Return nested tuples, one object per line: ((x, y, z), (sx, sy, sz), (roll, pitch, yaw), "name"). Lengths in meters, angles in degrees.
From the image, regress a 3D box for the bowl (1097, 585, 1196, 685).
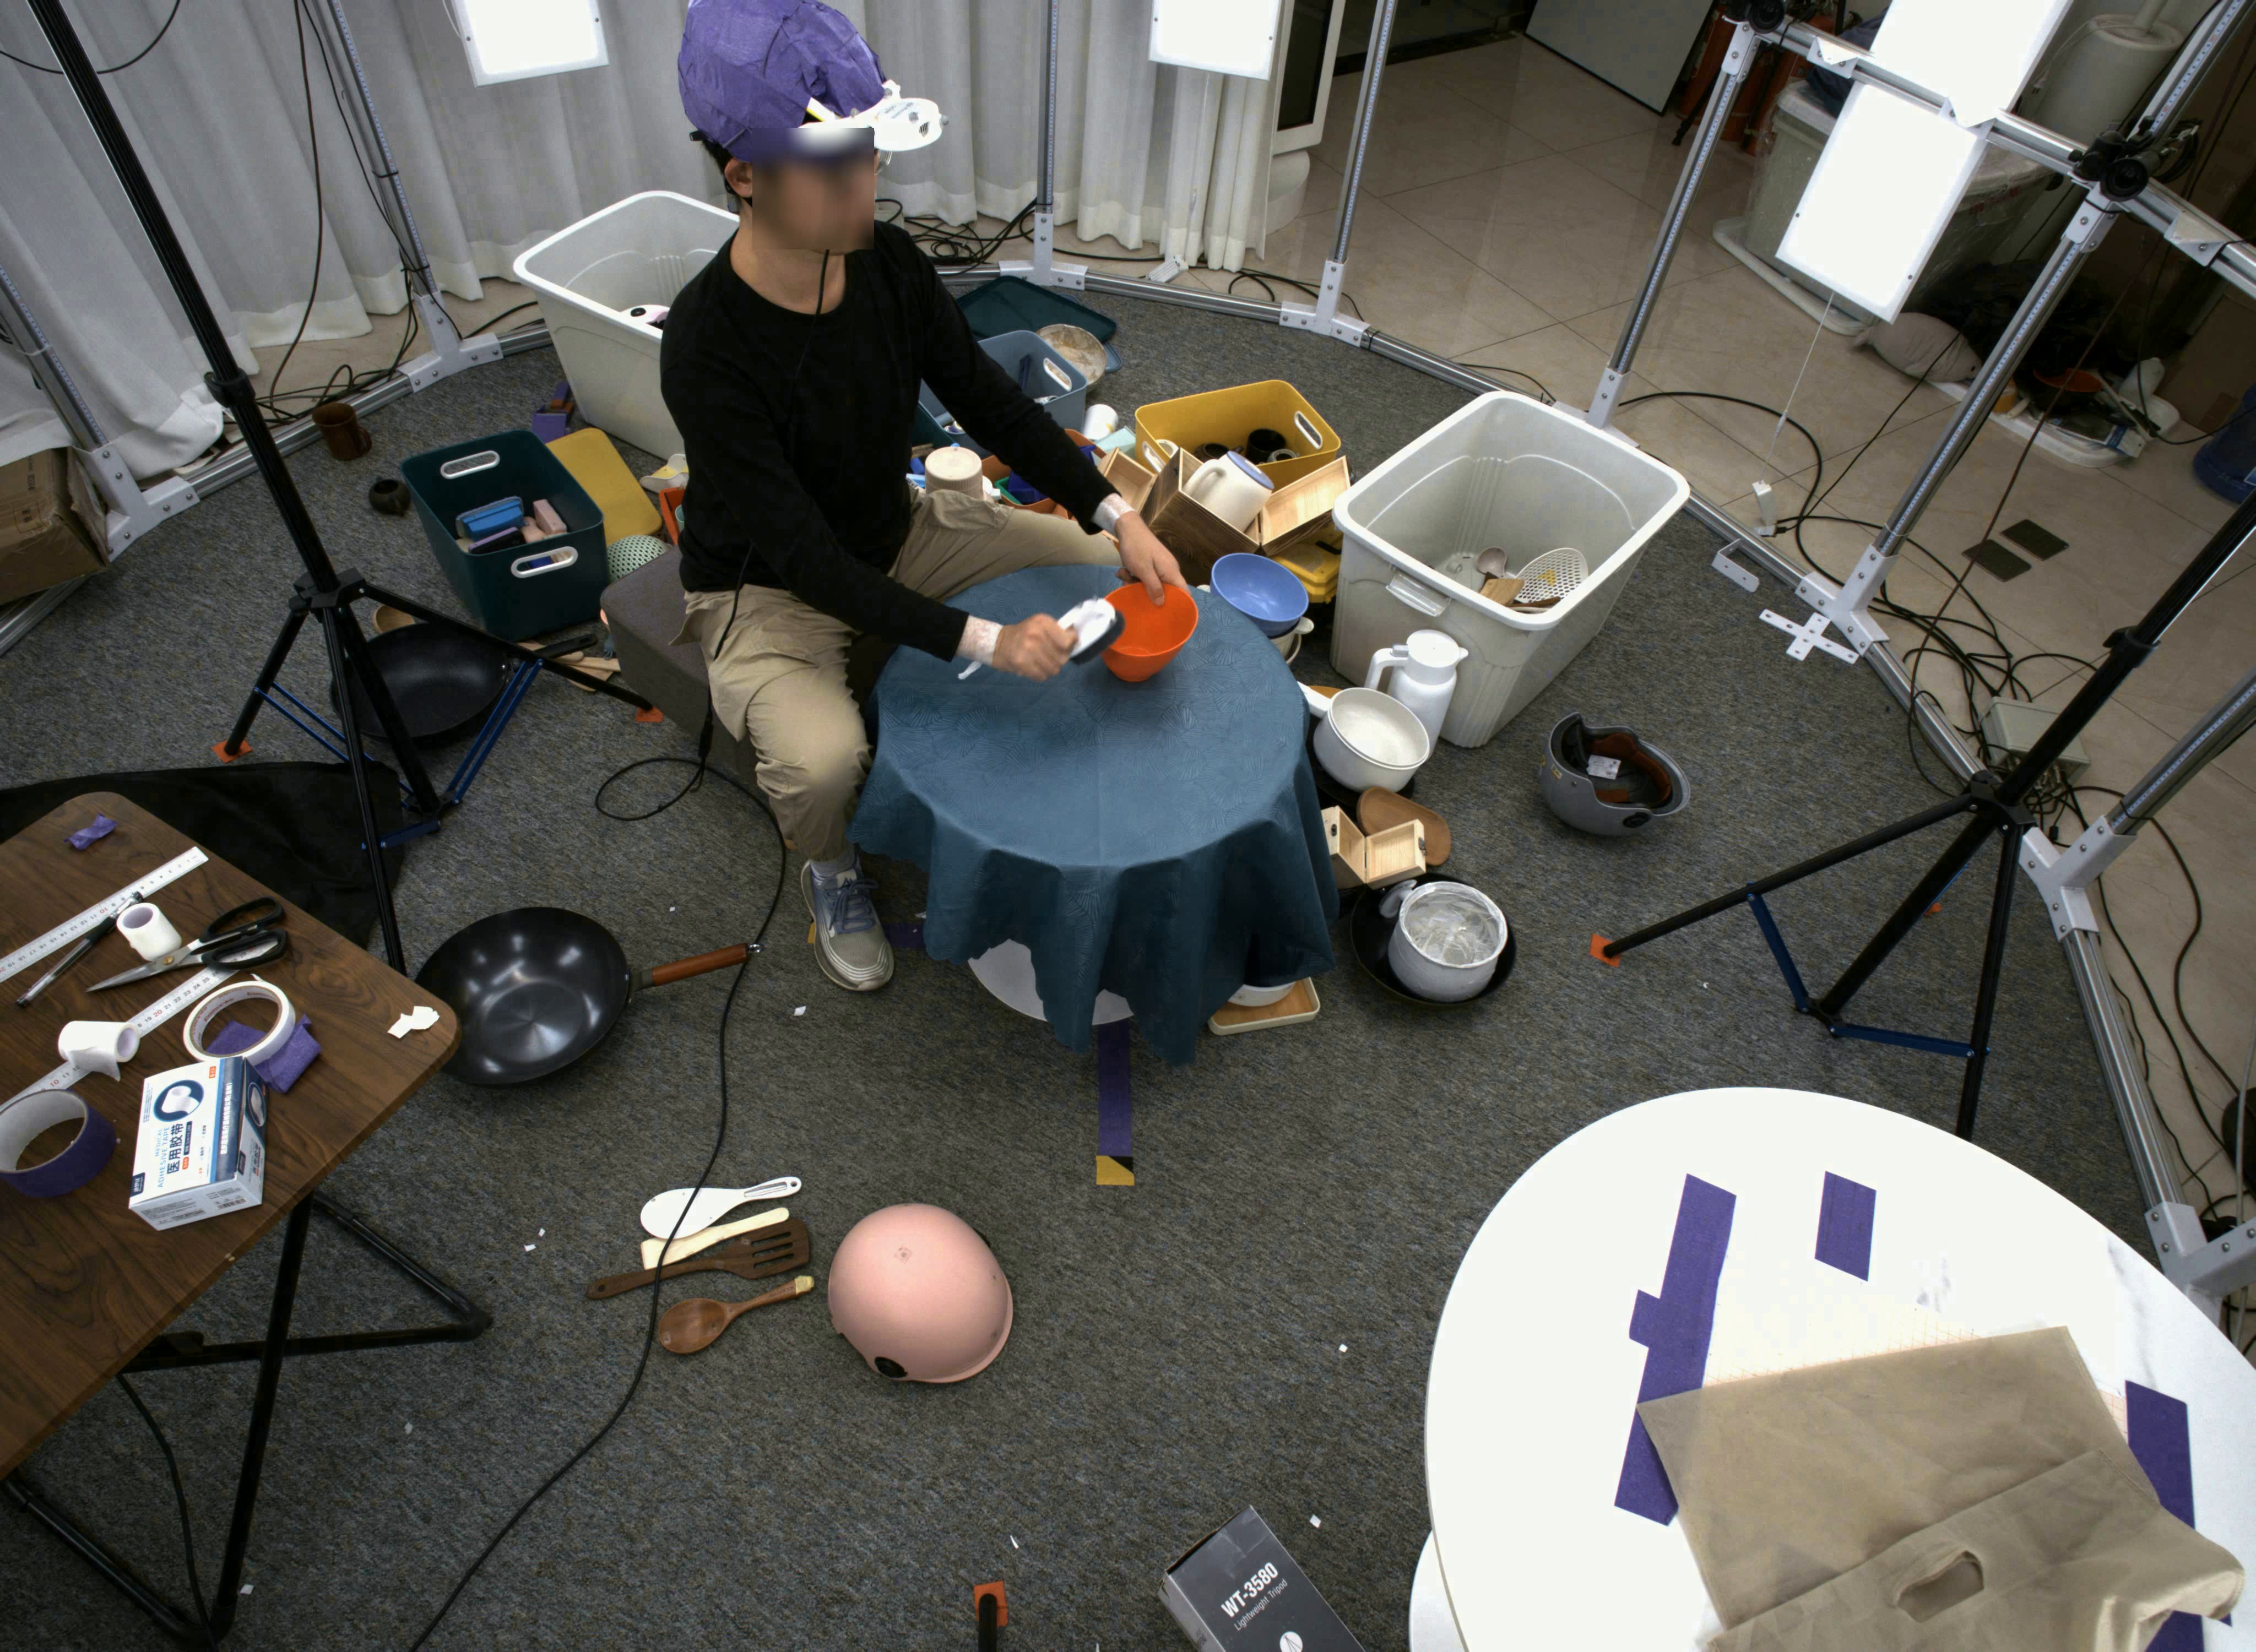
((0.020, -0.263, 1.837), (0.148, 0.102, 0.152), (2, 48, -2), "bowl")

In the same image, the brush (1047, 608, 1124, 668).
((-0.064, -0.257, 1.723), (0.098, 0.071, 0.051), (-30, 61, 25), "brush")
